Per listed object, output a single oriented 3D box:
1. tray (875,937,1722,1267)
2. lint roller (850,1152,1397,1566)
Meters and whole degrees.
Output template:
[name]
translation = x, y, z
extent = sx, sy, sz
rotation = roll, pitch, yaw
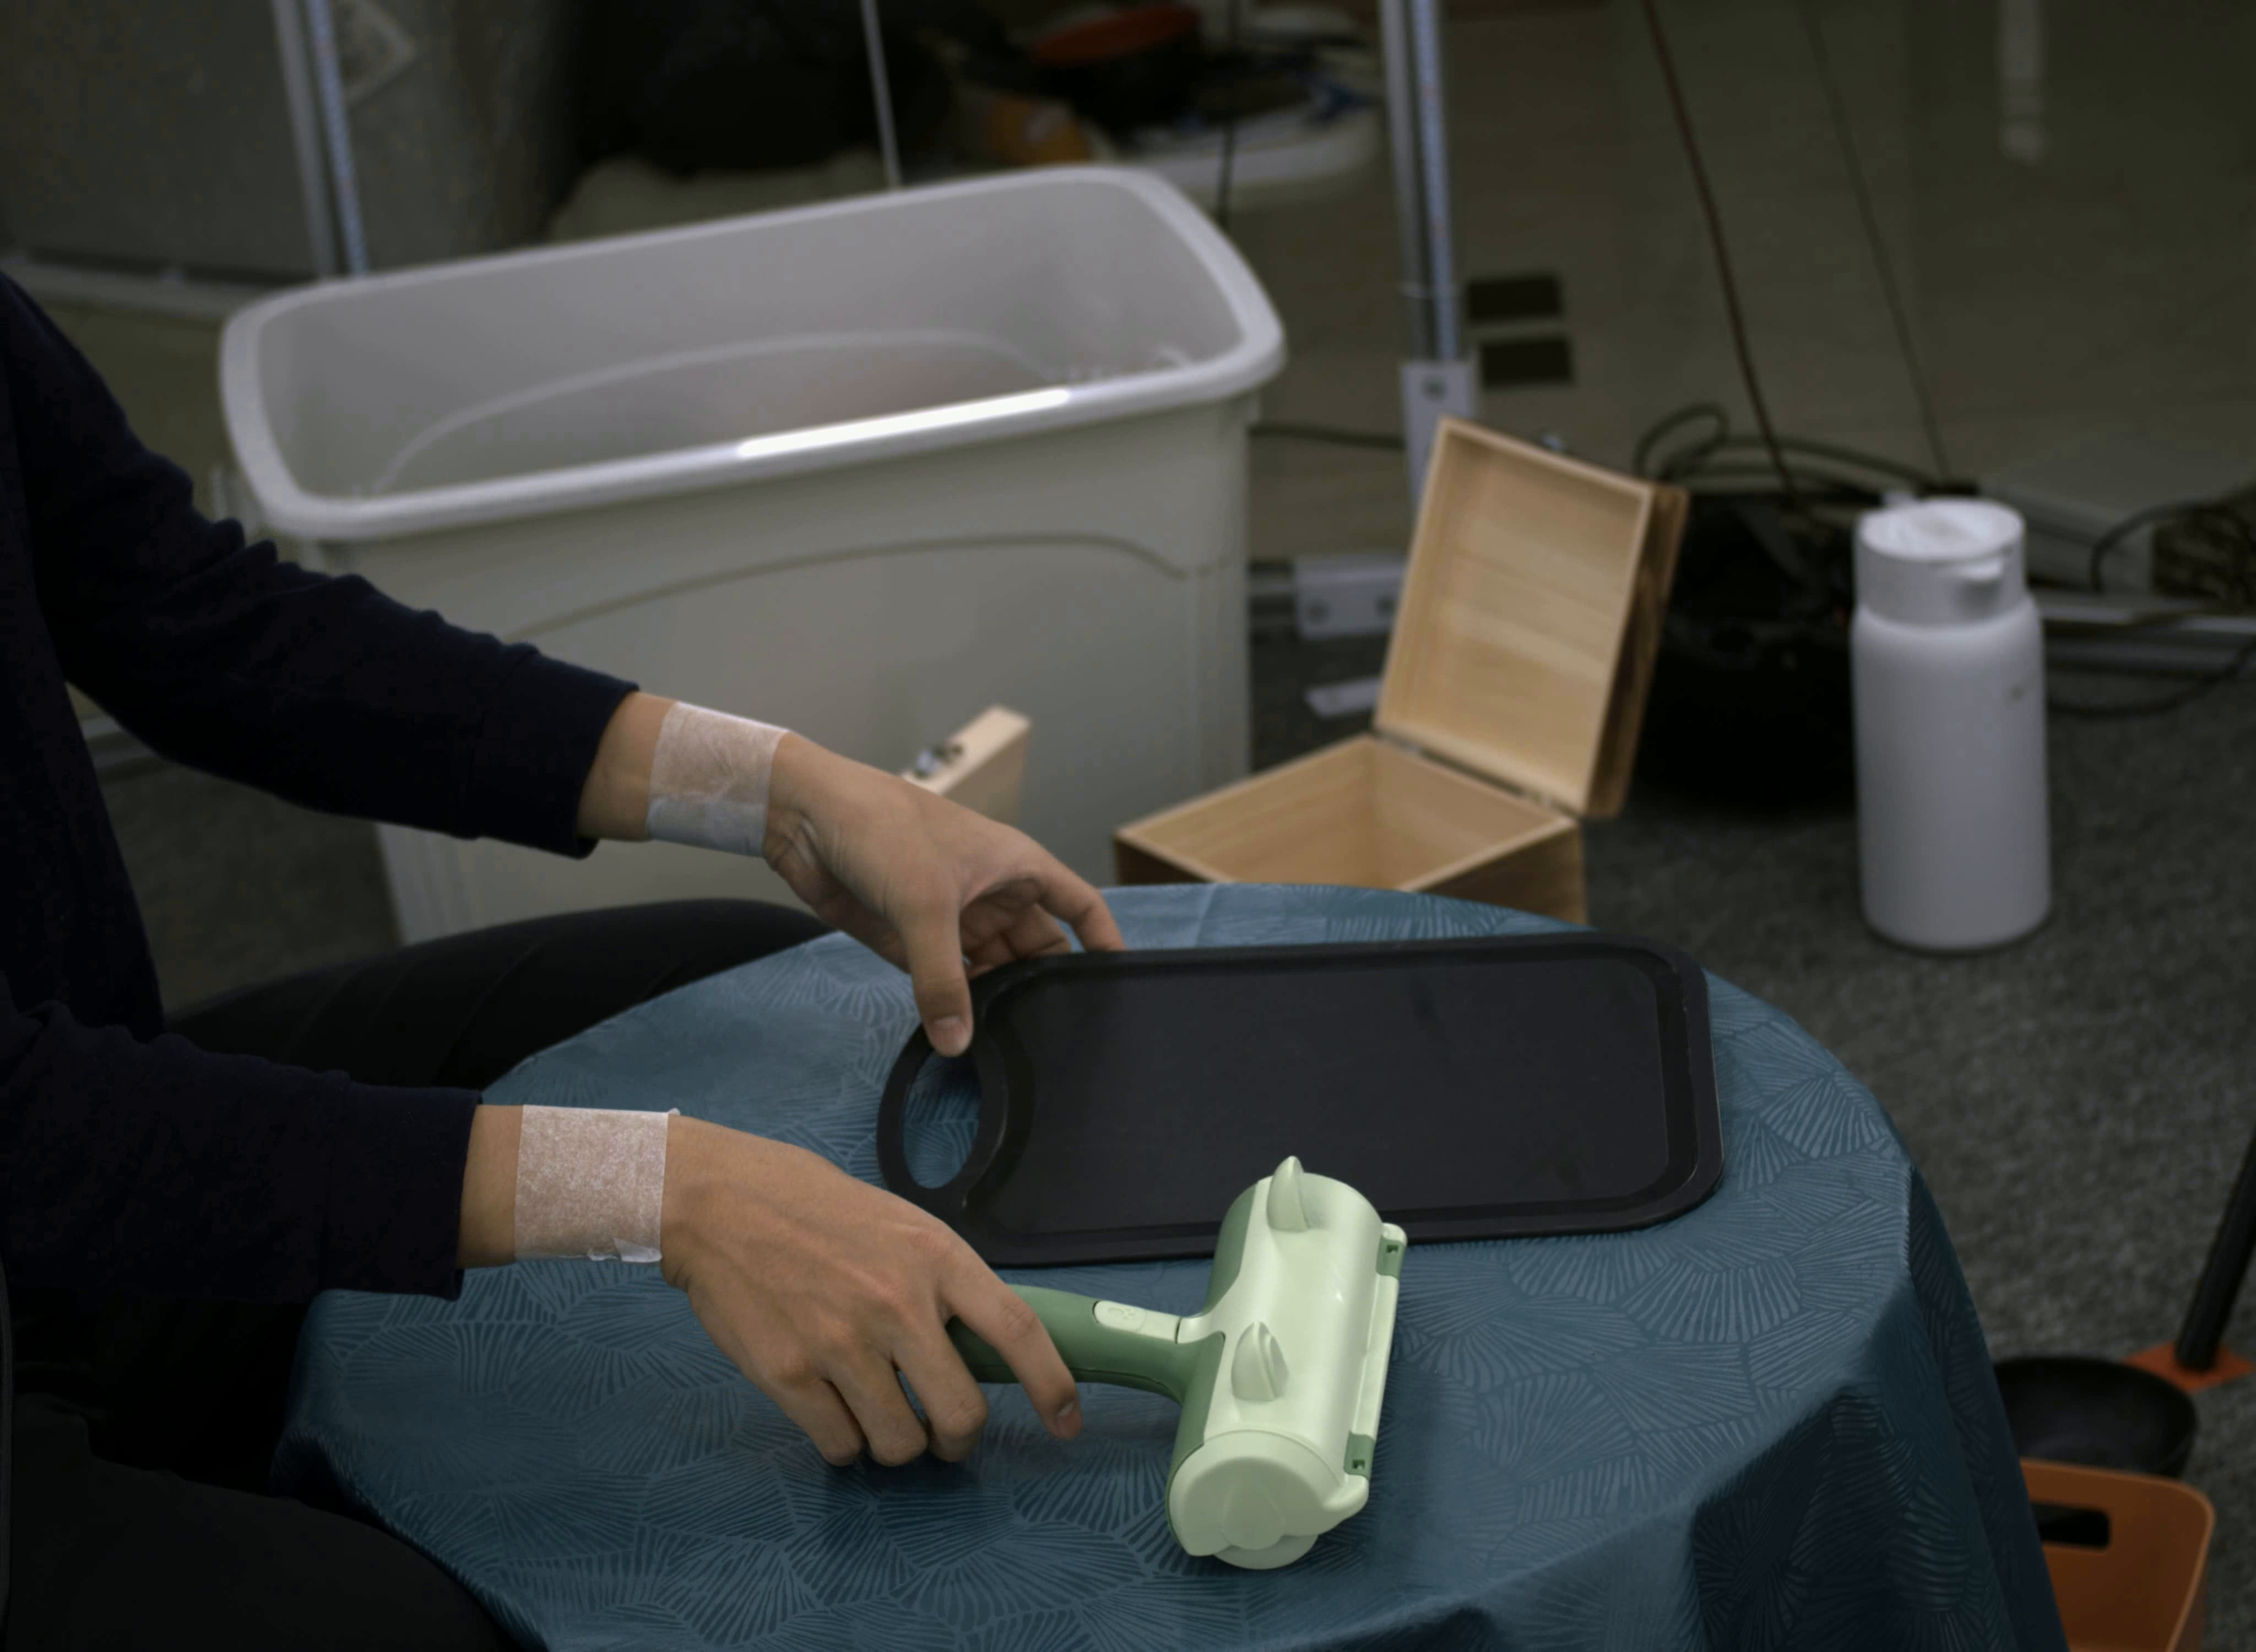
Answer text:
[tray]
translation = 0.064, 0.103, 2.179
extent = 0.325, 0.010, 0.207
rotation = -4, 30, 6
[lint roller]
translation = -0.001, 0.164, 1.966
extent = 0.183, 0.083, 0.196
rotation = 15, 26, -1
